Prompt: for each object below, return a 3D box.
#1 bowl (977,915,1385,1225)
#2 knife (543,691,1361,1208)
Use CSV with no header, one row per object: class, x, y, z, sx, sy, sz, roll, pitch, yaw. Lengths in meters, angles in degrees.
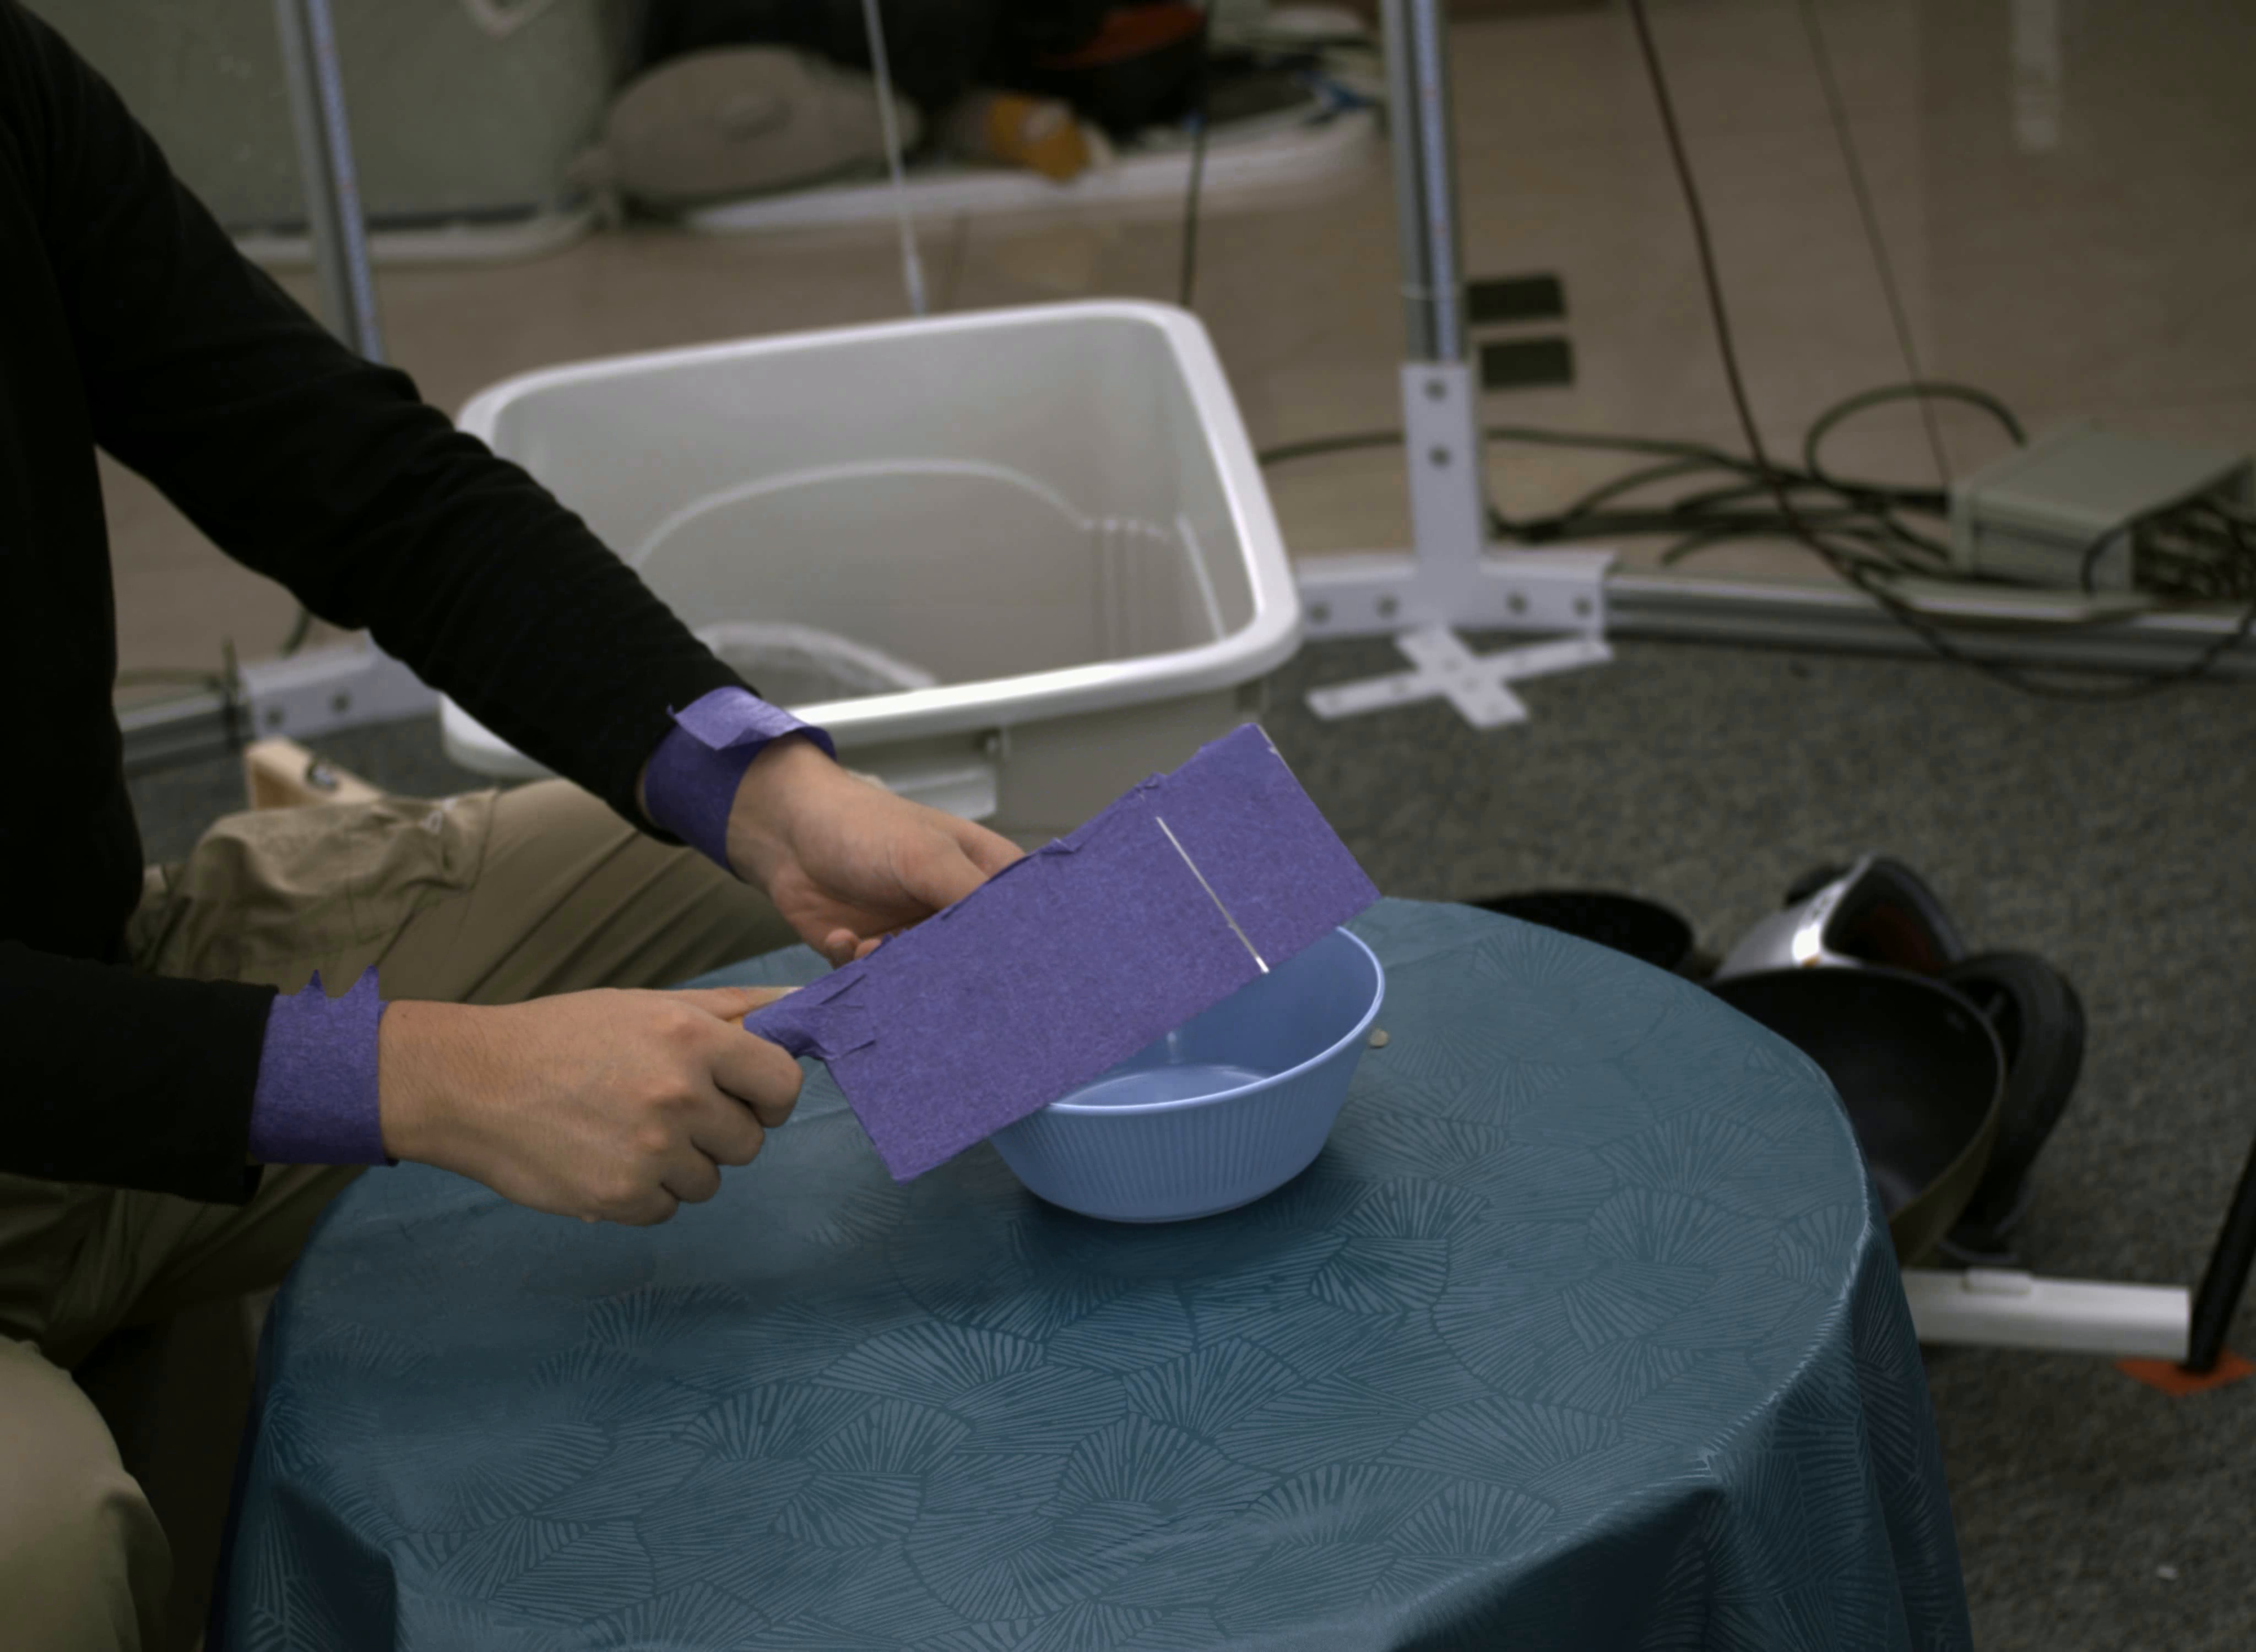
bowl,0.014,0.097,2.153,0.176,0.071,0.173,-6,23,3
knife,-0.063,0.068,2.089,0.315,0.032,0.102,-33,65,-2
